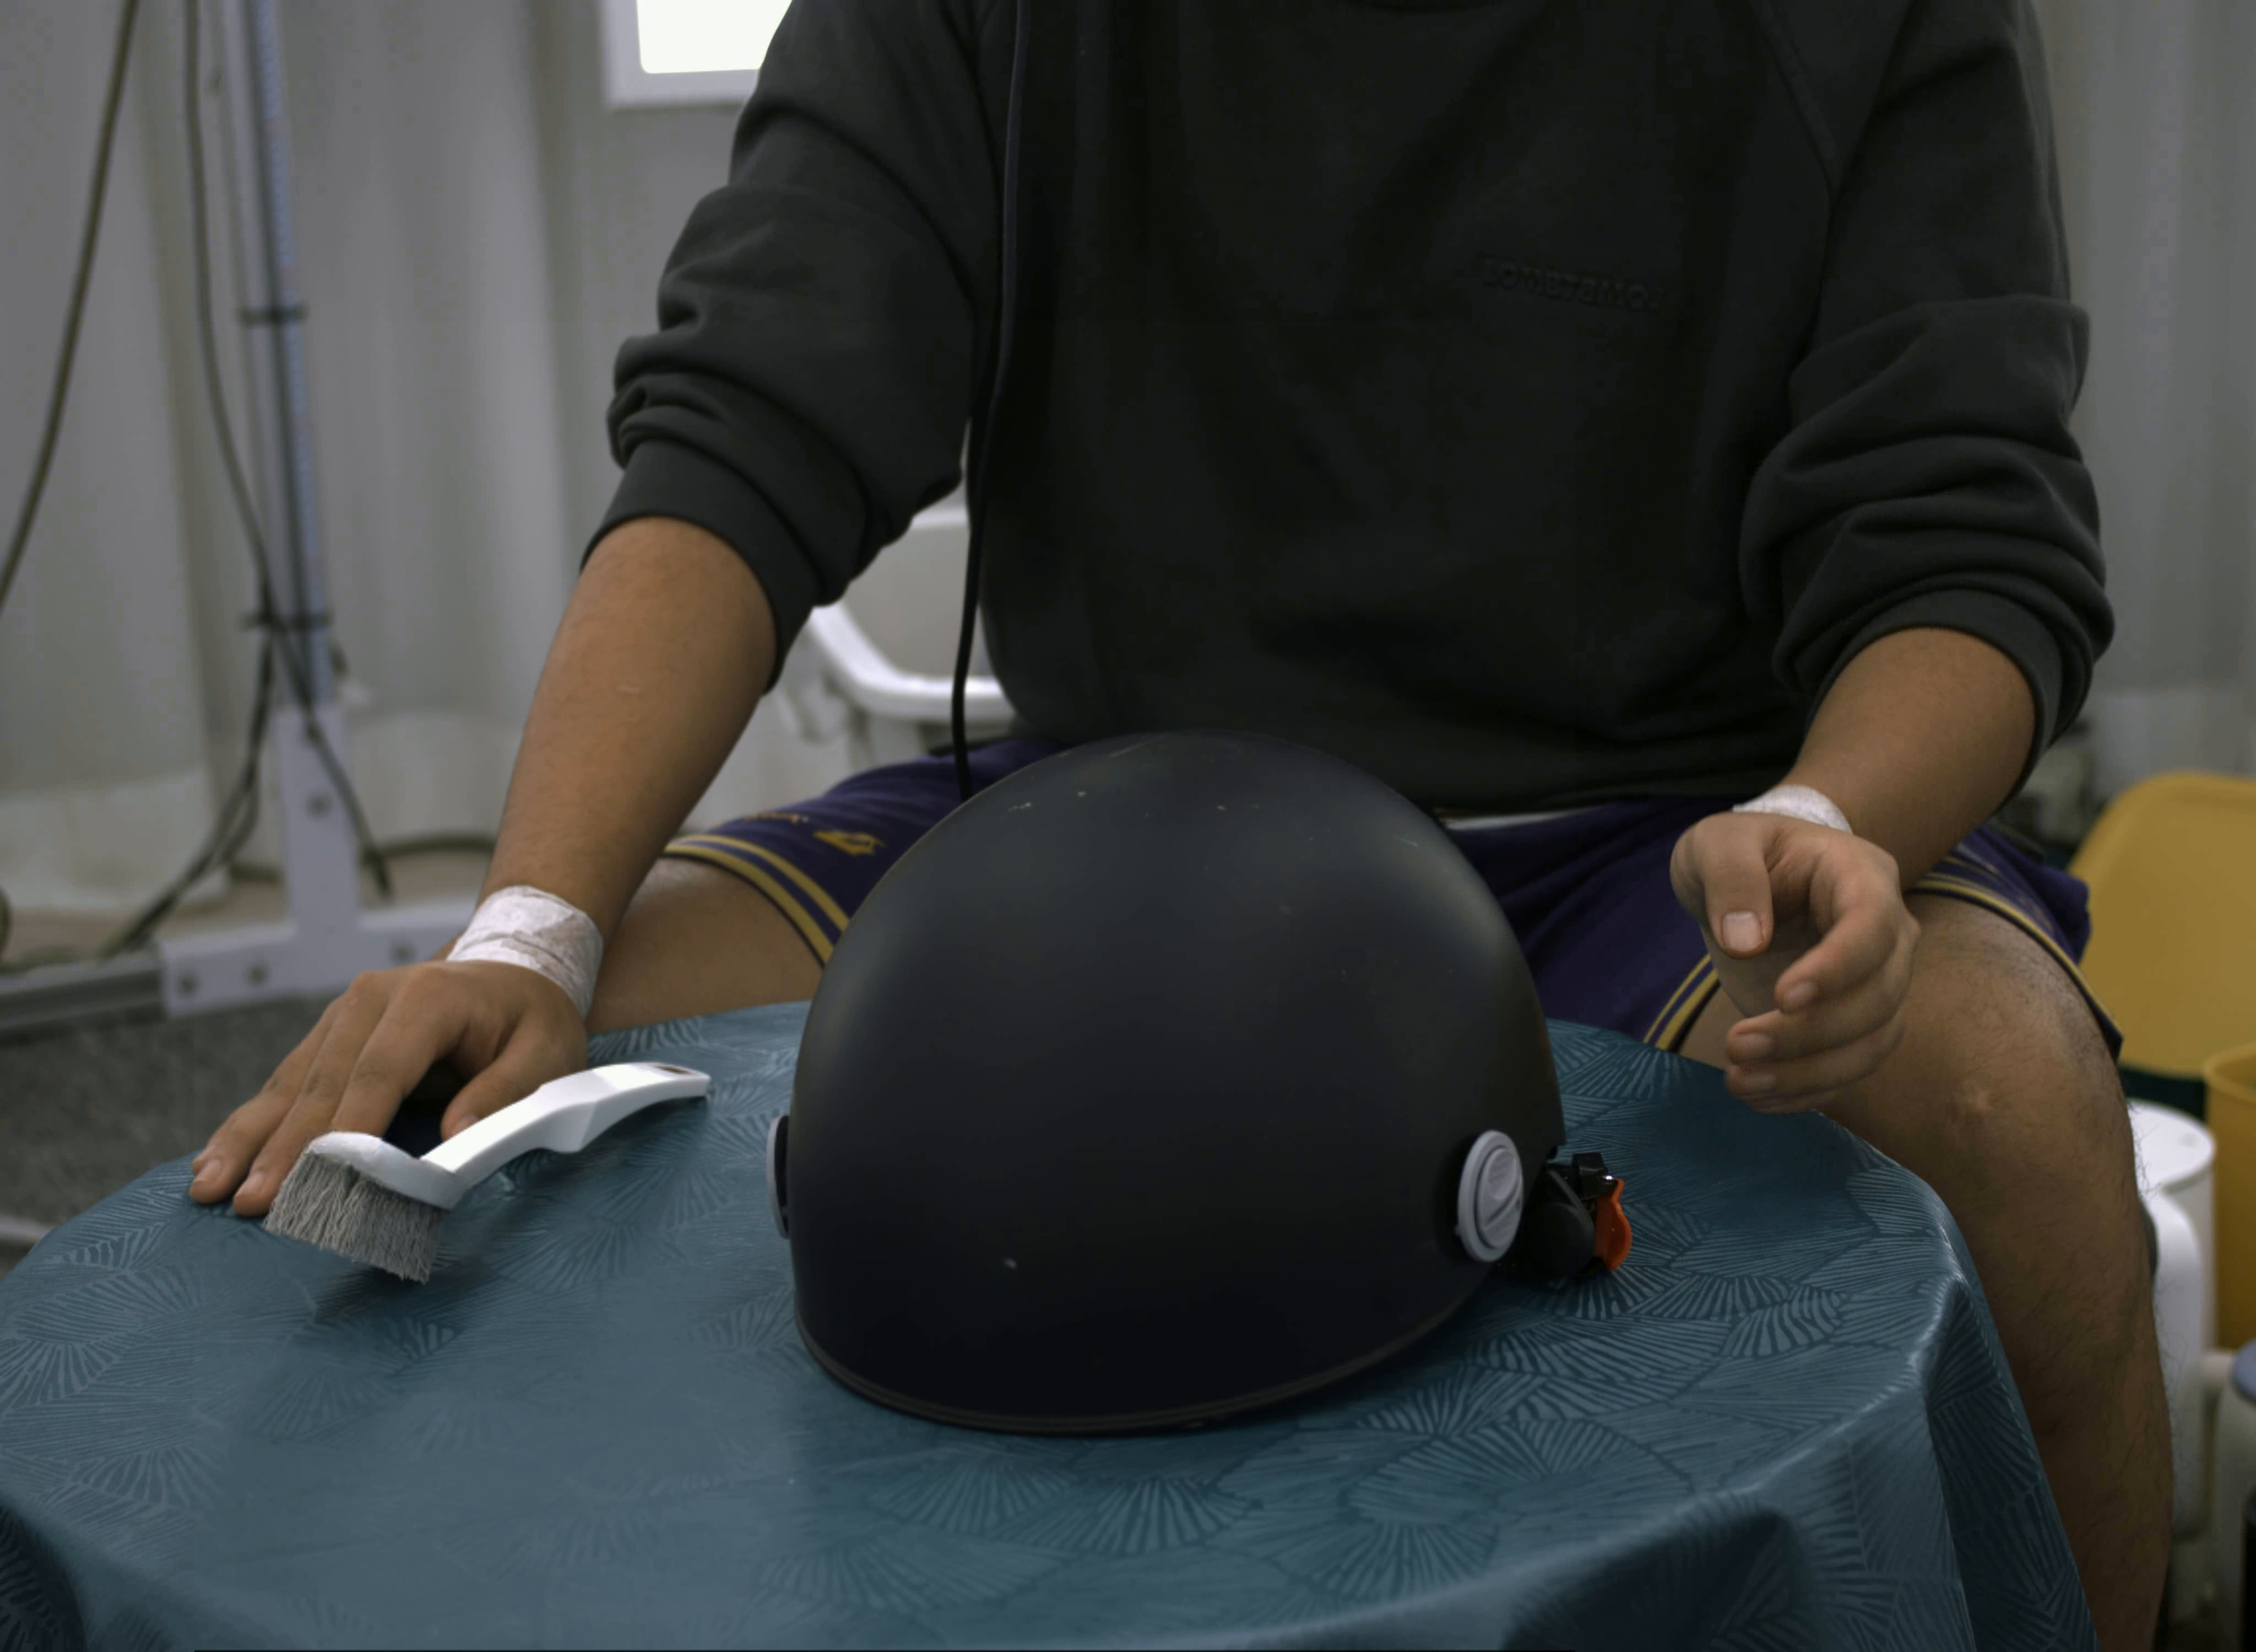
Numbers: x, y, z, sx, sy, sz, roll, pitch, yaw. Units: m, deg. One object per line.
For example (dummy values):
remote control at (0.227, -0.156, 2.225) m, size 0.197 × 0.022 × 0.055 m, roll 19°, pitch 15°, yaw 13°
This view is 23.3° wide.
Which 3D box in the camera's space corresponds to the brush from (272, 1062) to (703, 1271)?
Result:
brush at (-0.198, 0.108, 1.734) m, size 0.034 × 0.050 × 0.243 m, roll 12°, pitch 6°, yaw 20°

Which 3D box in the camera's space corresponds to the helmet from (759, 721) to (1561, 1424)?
helmet at (0.008, 0.060, 1.618) m, size 0.230 × 0.166 × 0.274 m, roll 0°, pitch 16°, yaw 22°
